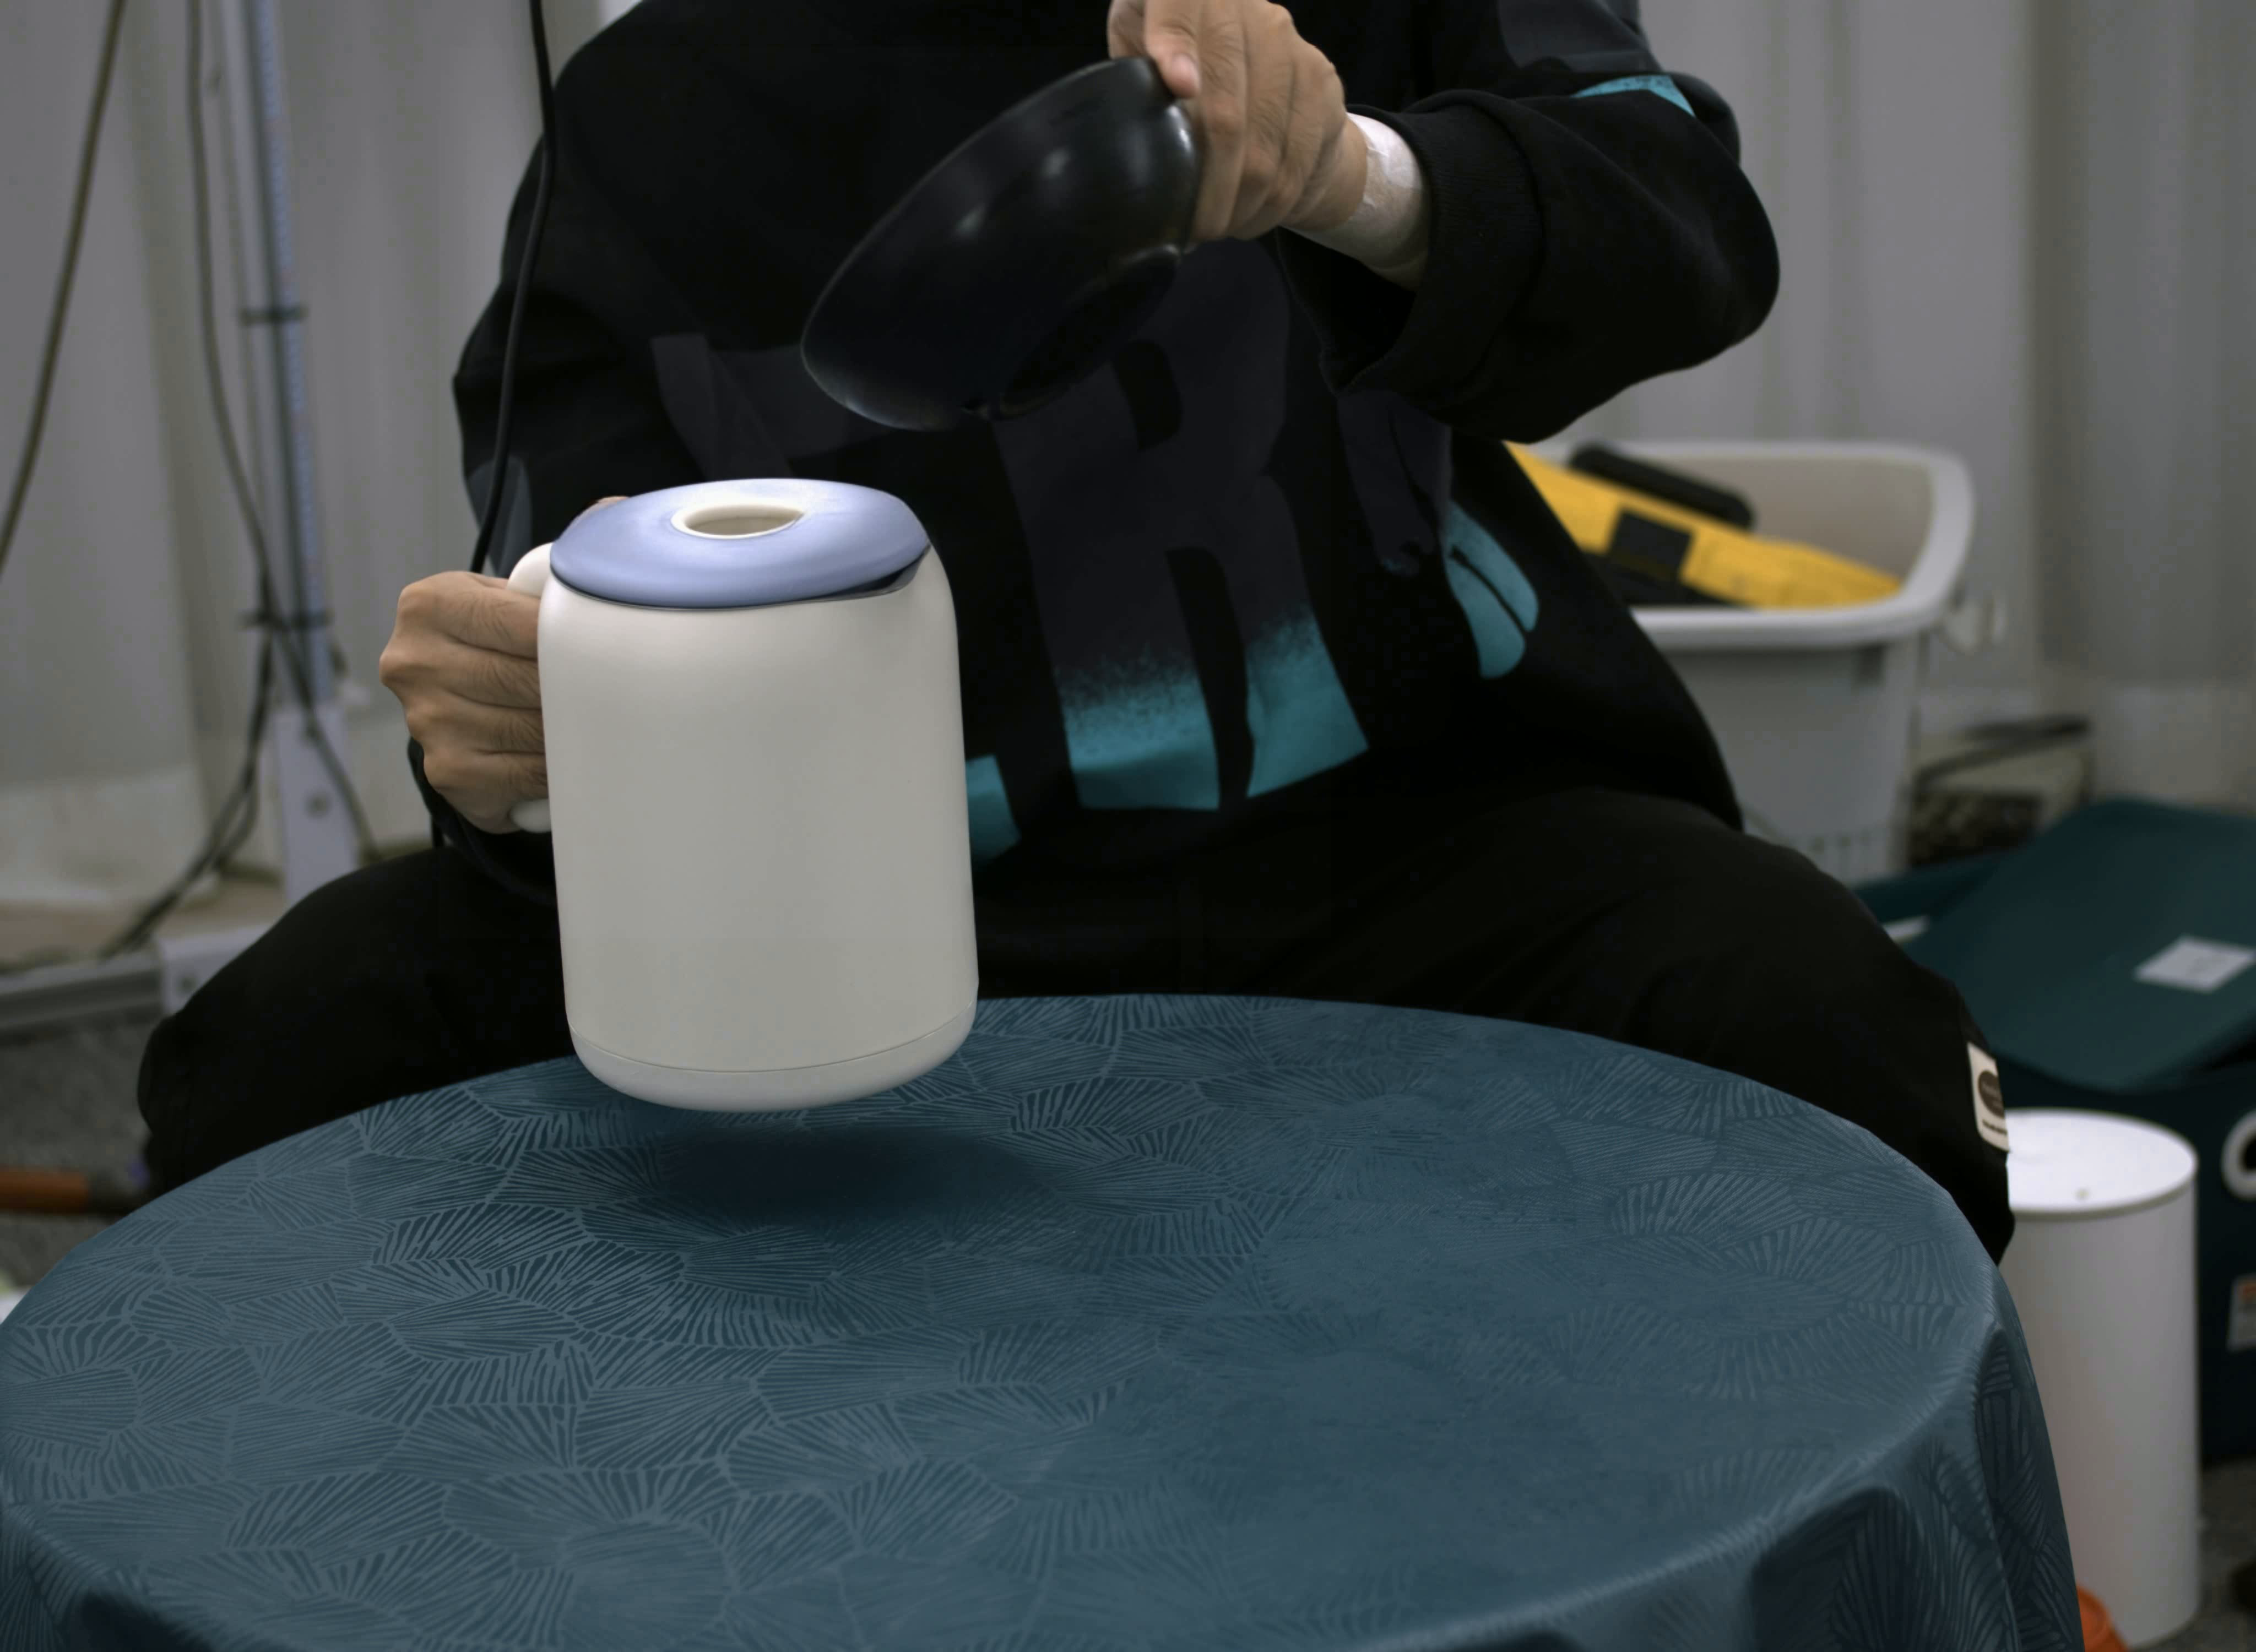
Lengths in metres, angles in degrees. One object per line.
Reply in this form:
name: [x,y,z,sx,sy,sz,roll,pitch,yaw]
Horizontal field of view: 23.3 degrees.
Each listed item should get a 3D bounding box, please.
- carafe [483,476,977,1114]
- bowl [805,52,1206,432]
carafe: [-0.135,-0.014,1.731,0.192,0.181,0.132,11,21,41]
bowl: [-0.026,-0.160,1.599,0.050,0.139,0.140,50,35,13]
